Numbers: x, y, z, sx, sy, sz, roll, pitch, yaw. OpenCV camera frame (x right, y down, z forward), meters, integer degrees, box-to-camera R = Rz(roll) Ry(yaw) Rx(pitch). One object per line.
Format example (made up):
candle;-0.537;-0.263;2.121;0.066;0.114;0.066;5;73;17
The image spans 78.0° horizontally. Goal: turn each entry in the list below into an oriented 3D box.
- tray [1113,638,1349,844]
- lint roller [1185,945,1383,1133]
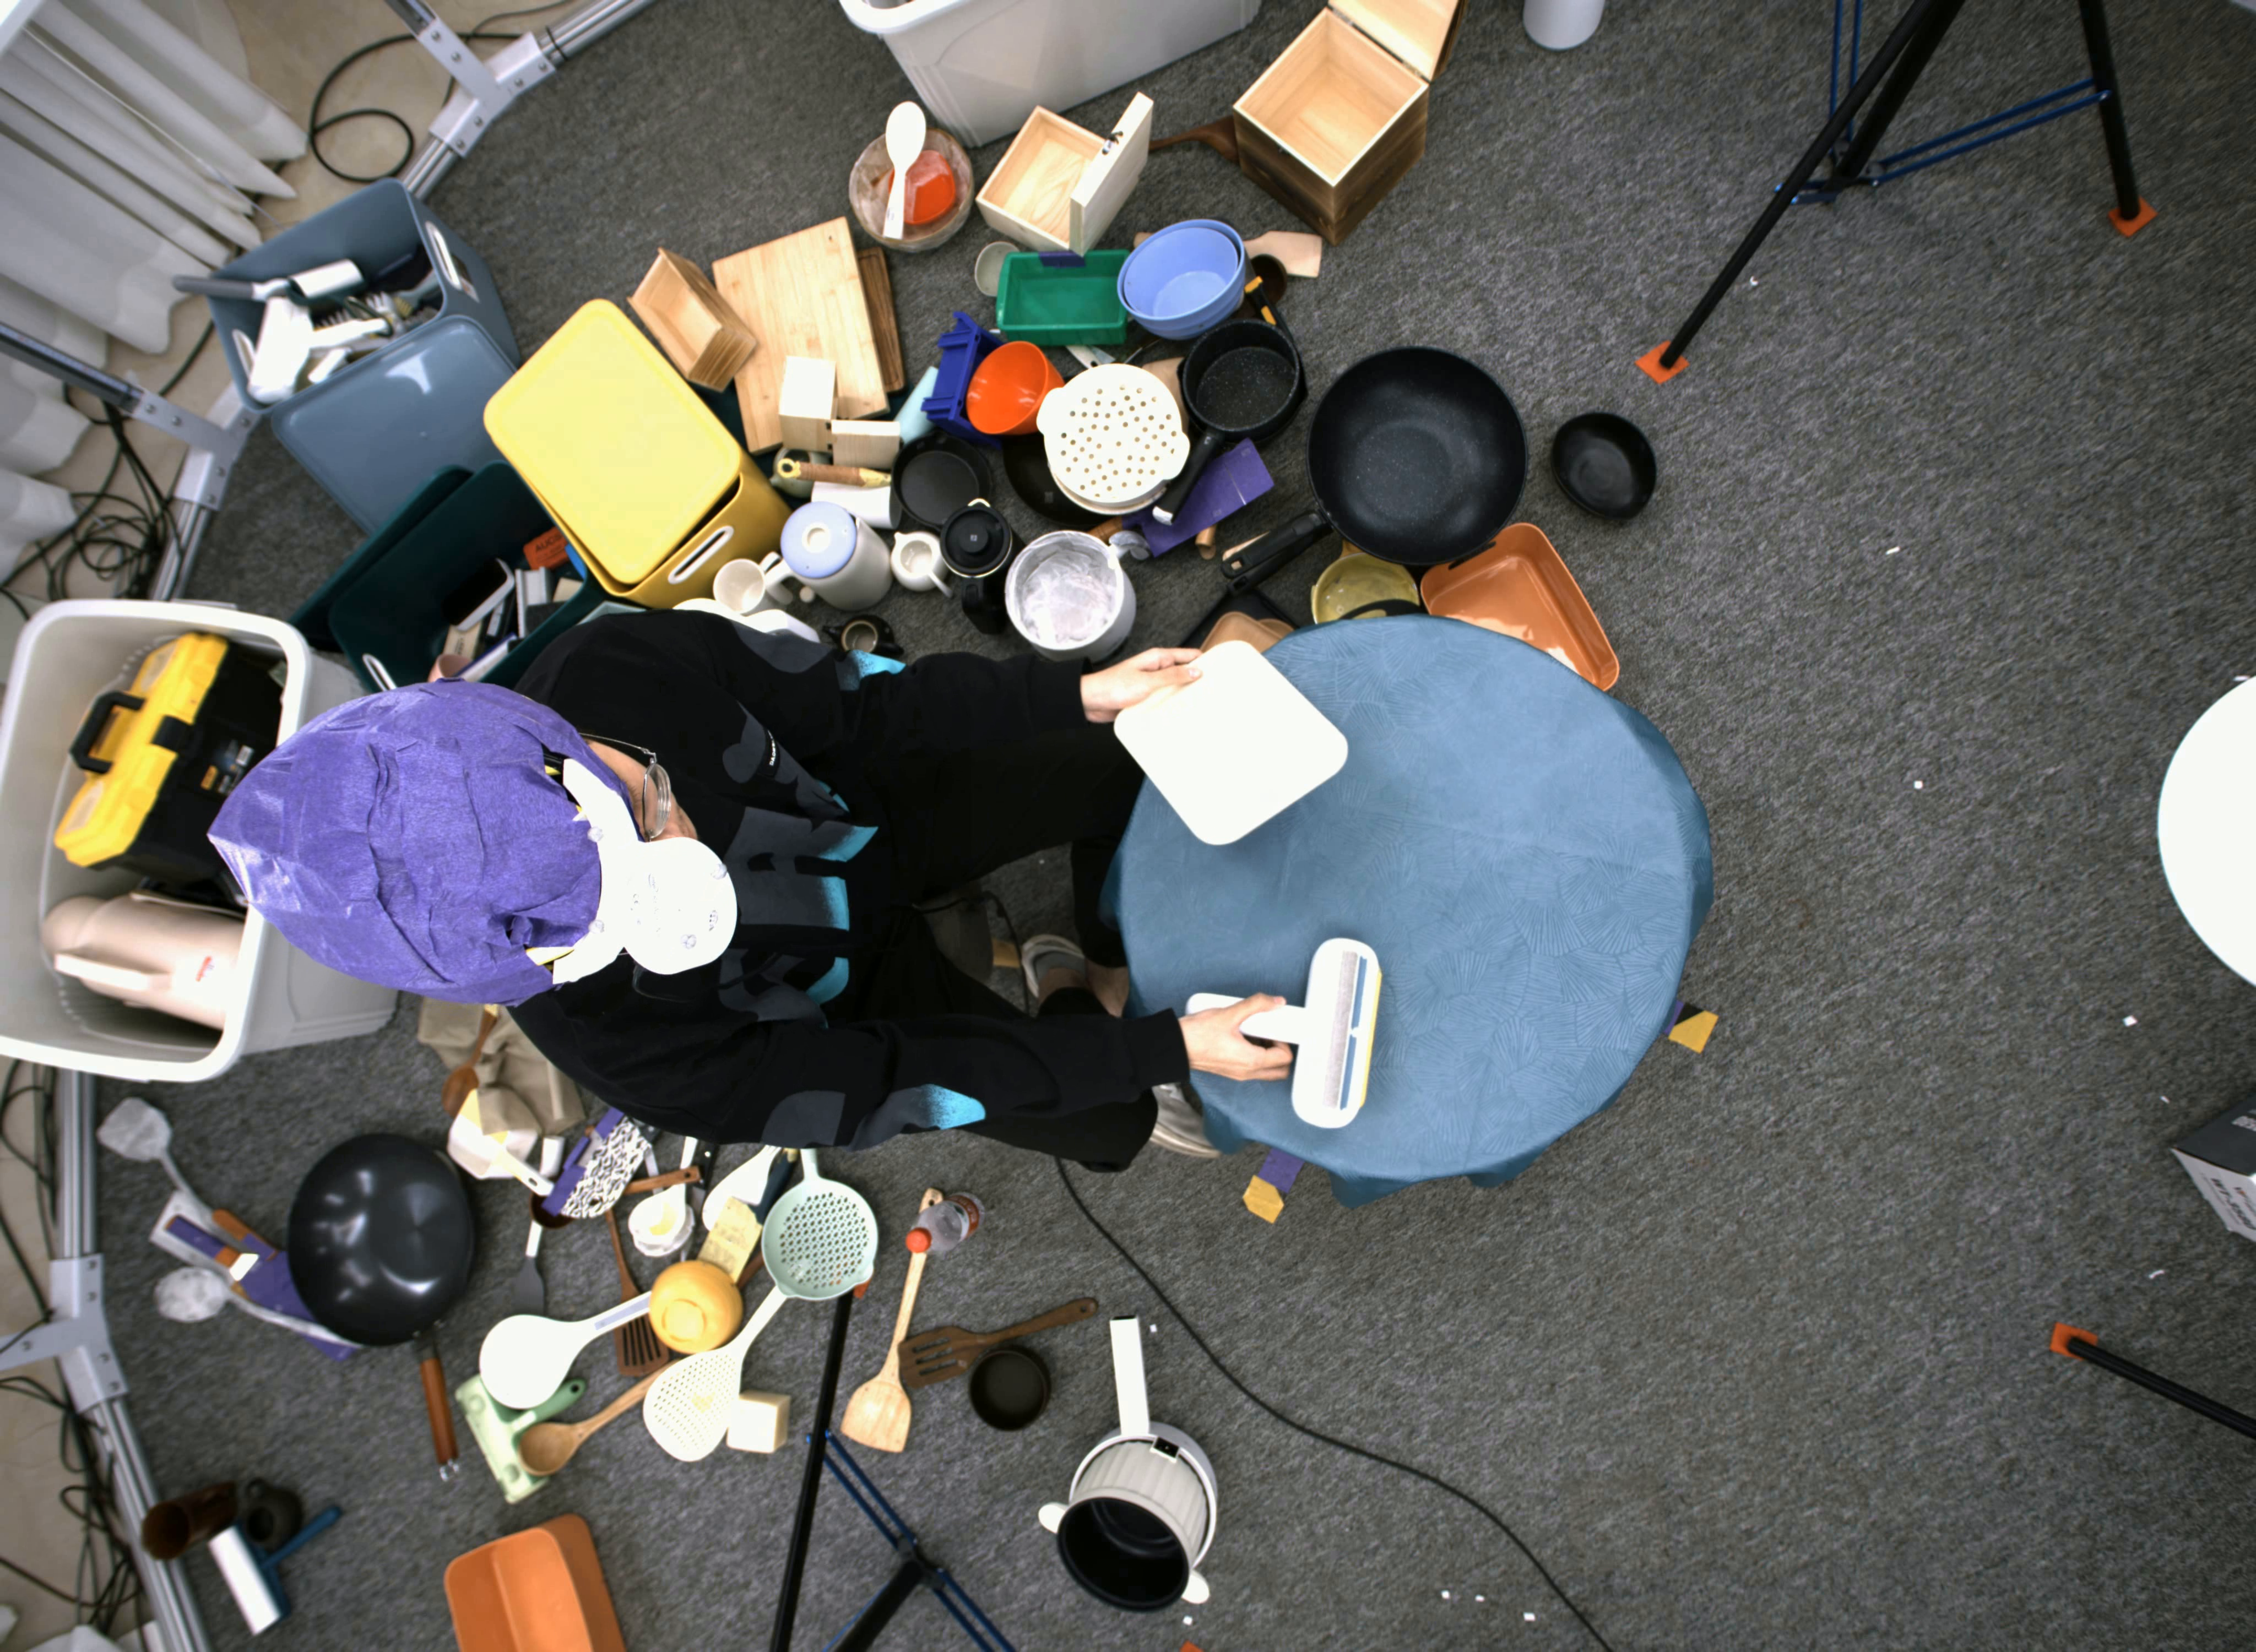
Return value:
tray;0.098;-0.087;1.364;0.171;0.018;0.235;-36;47;-1
lint roller;0.154;0.202;1.419;0.192;0.075;0.191;14;81;-1
